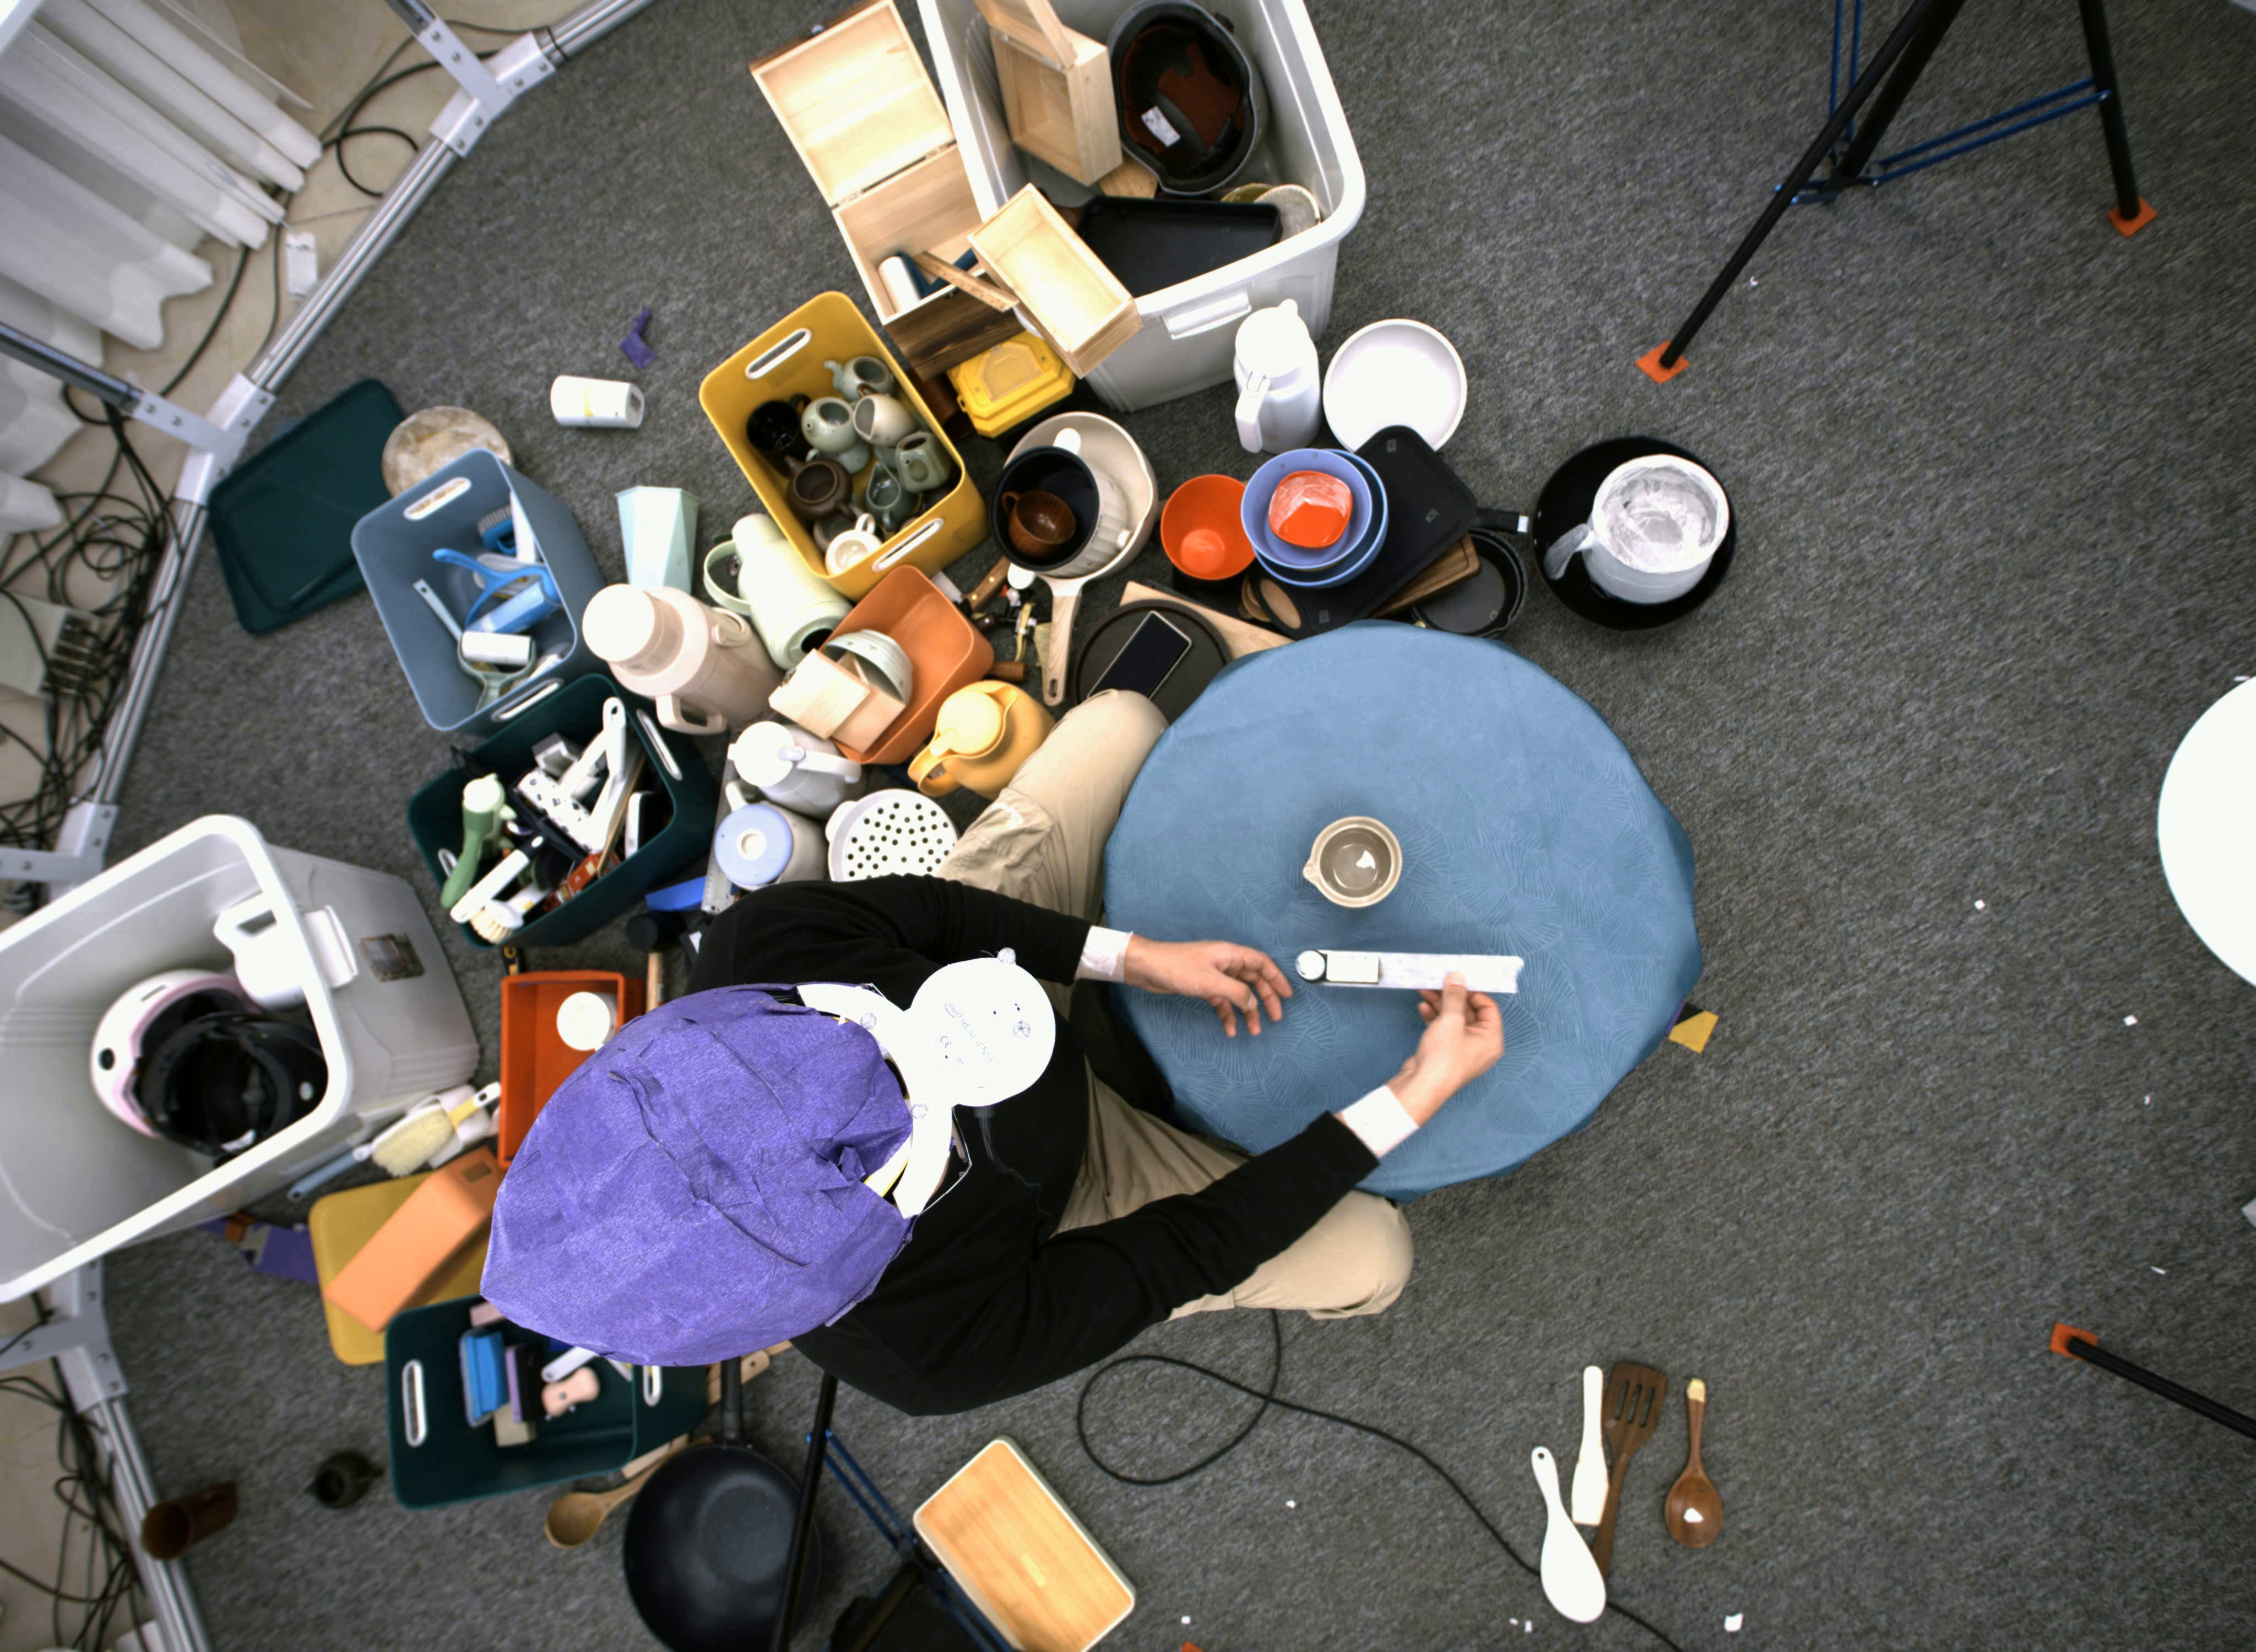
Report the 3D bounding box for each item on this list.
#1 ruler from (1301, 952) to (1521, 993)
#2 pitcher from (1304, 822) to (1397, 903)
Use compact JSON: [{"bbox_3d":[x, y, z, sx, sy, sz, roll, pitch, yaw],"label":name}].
[{"bbox_3d":[0.280,0.144,1.379,0.219,0.024,0.038,-1,84,22],"label":"ruler"},{"bbox_3d":[0.231,0.039,1.432,0.096,0.071,0.083,-13,84,8],"label":"pitcher"}]
